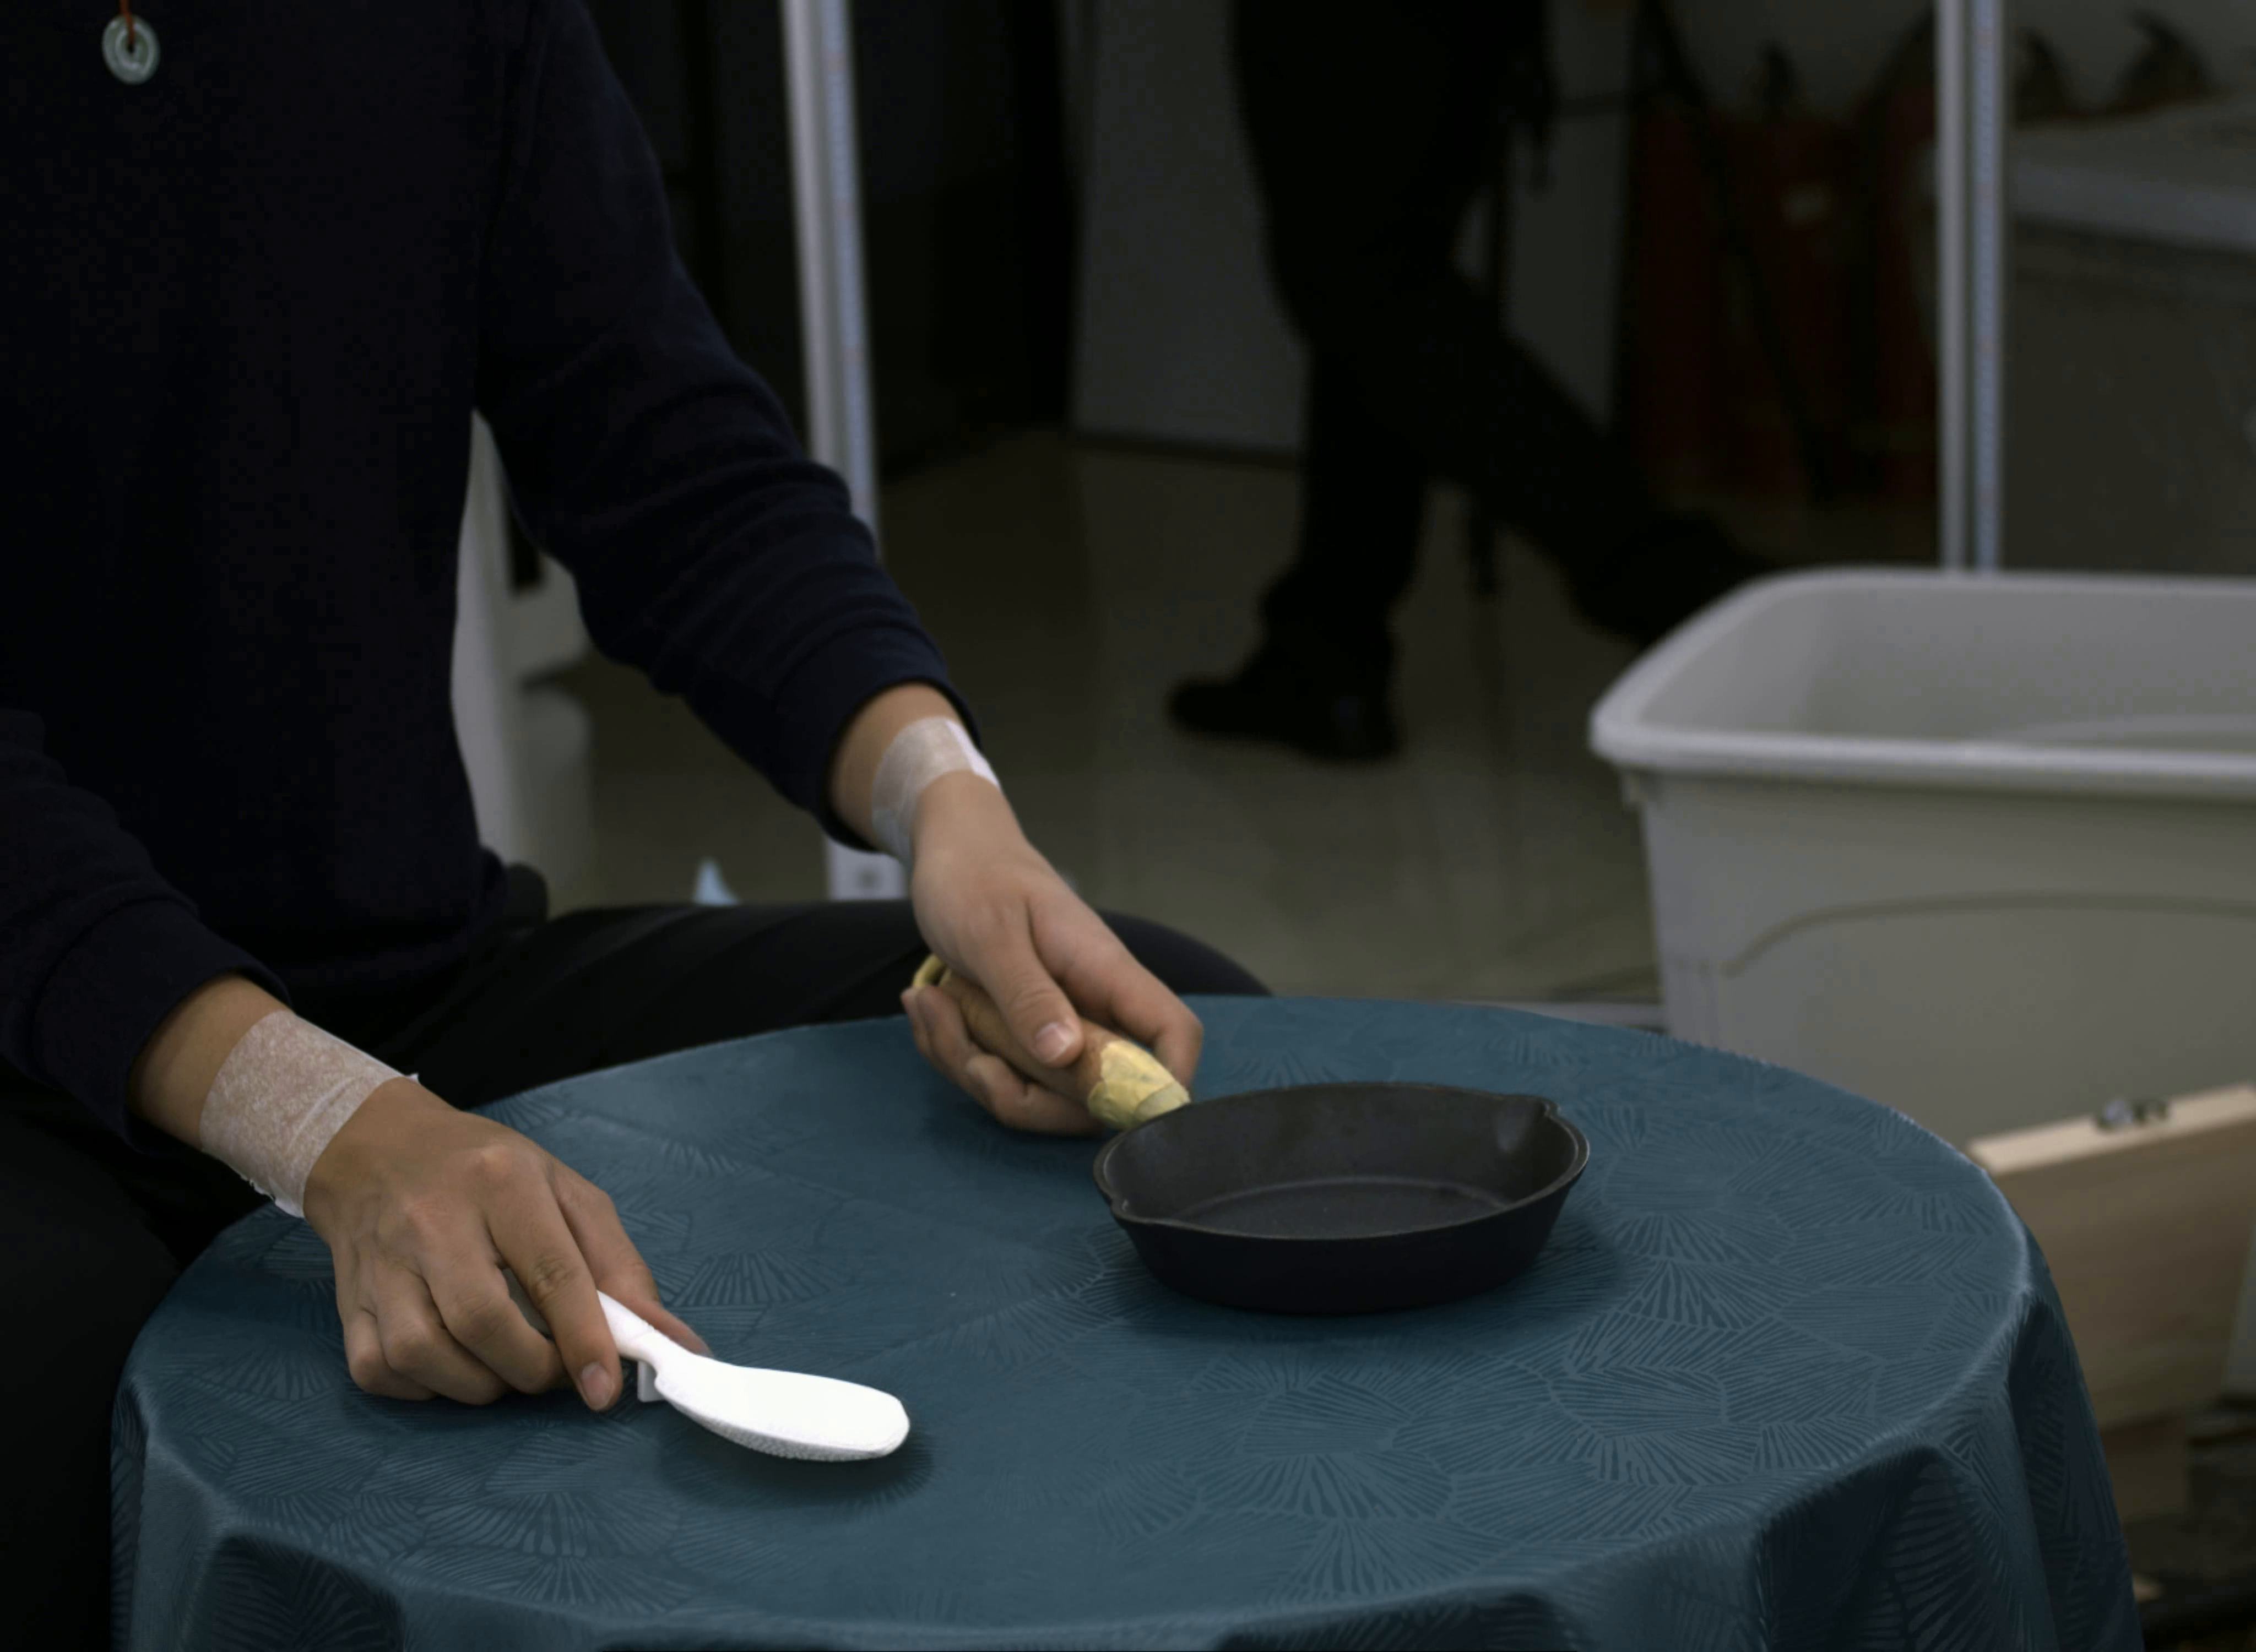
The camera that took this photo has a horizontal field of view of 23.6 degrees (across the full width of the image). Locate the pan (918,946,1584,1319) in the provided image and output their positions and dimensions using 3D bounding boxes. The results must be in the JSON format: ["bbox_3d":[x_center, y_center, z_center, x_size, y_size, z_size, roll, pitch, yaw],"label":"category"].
[{"bbox_3d":[0.022,0.096,1.762,0.165,0.050,0.328,-12,17,-30],"label":"pan"}]

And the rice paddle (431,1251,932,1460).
[{"bbox_3d":[-0.134,0.159,1.597,0.067,0.030,0.207,-2,9,-42],"label":"rice paddle"}]
